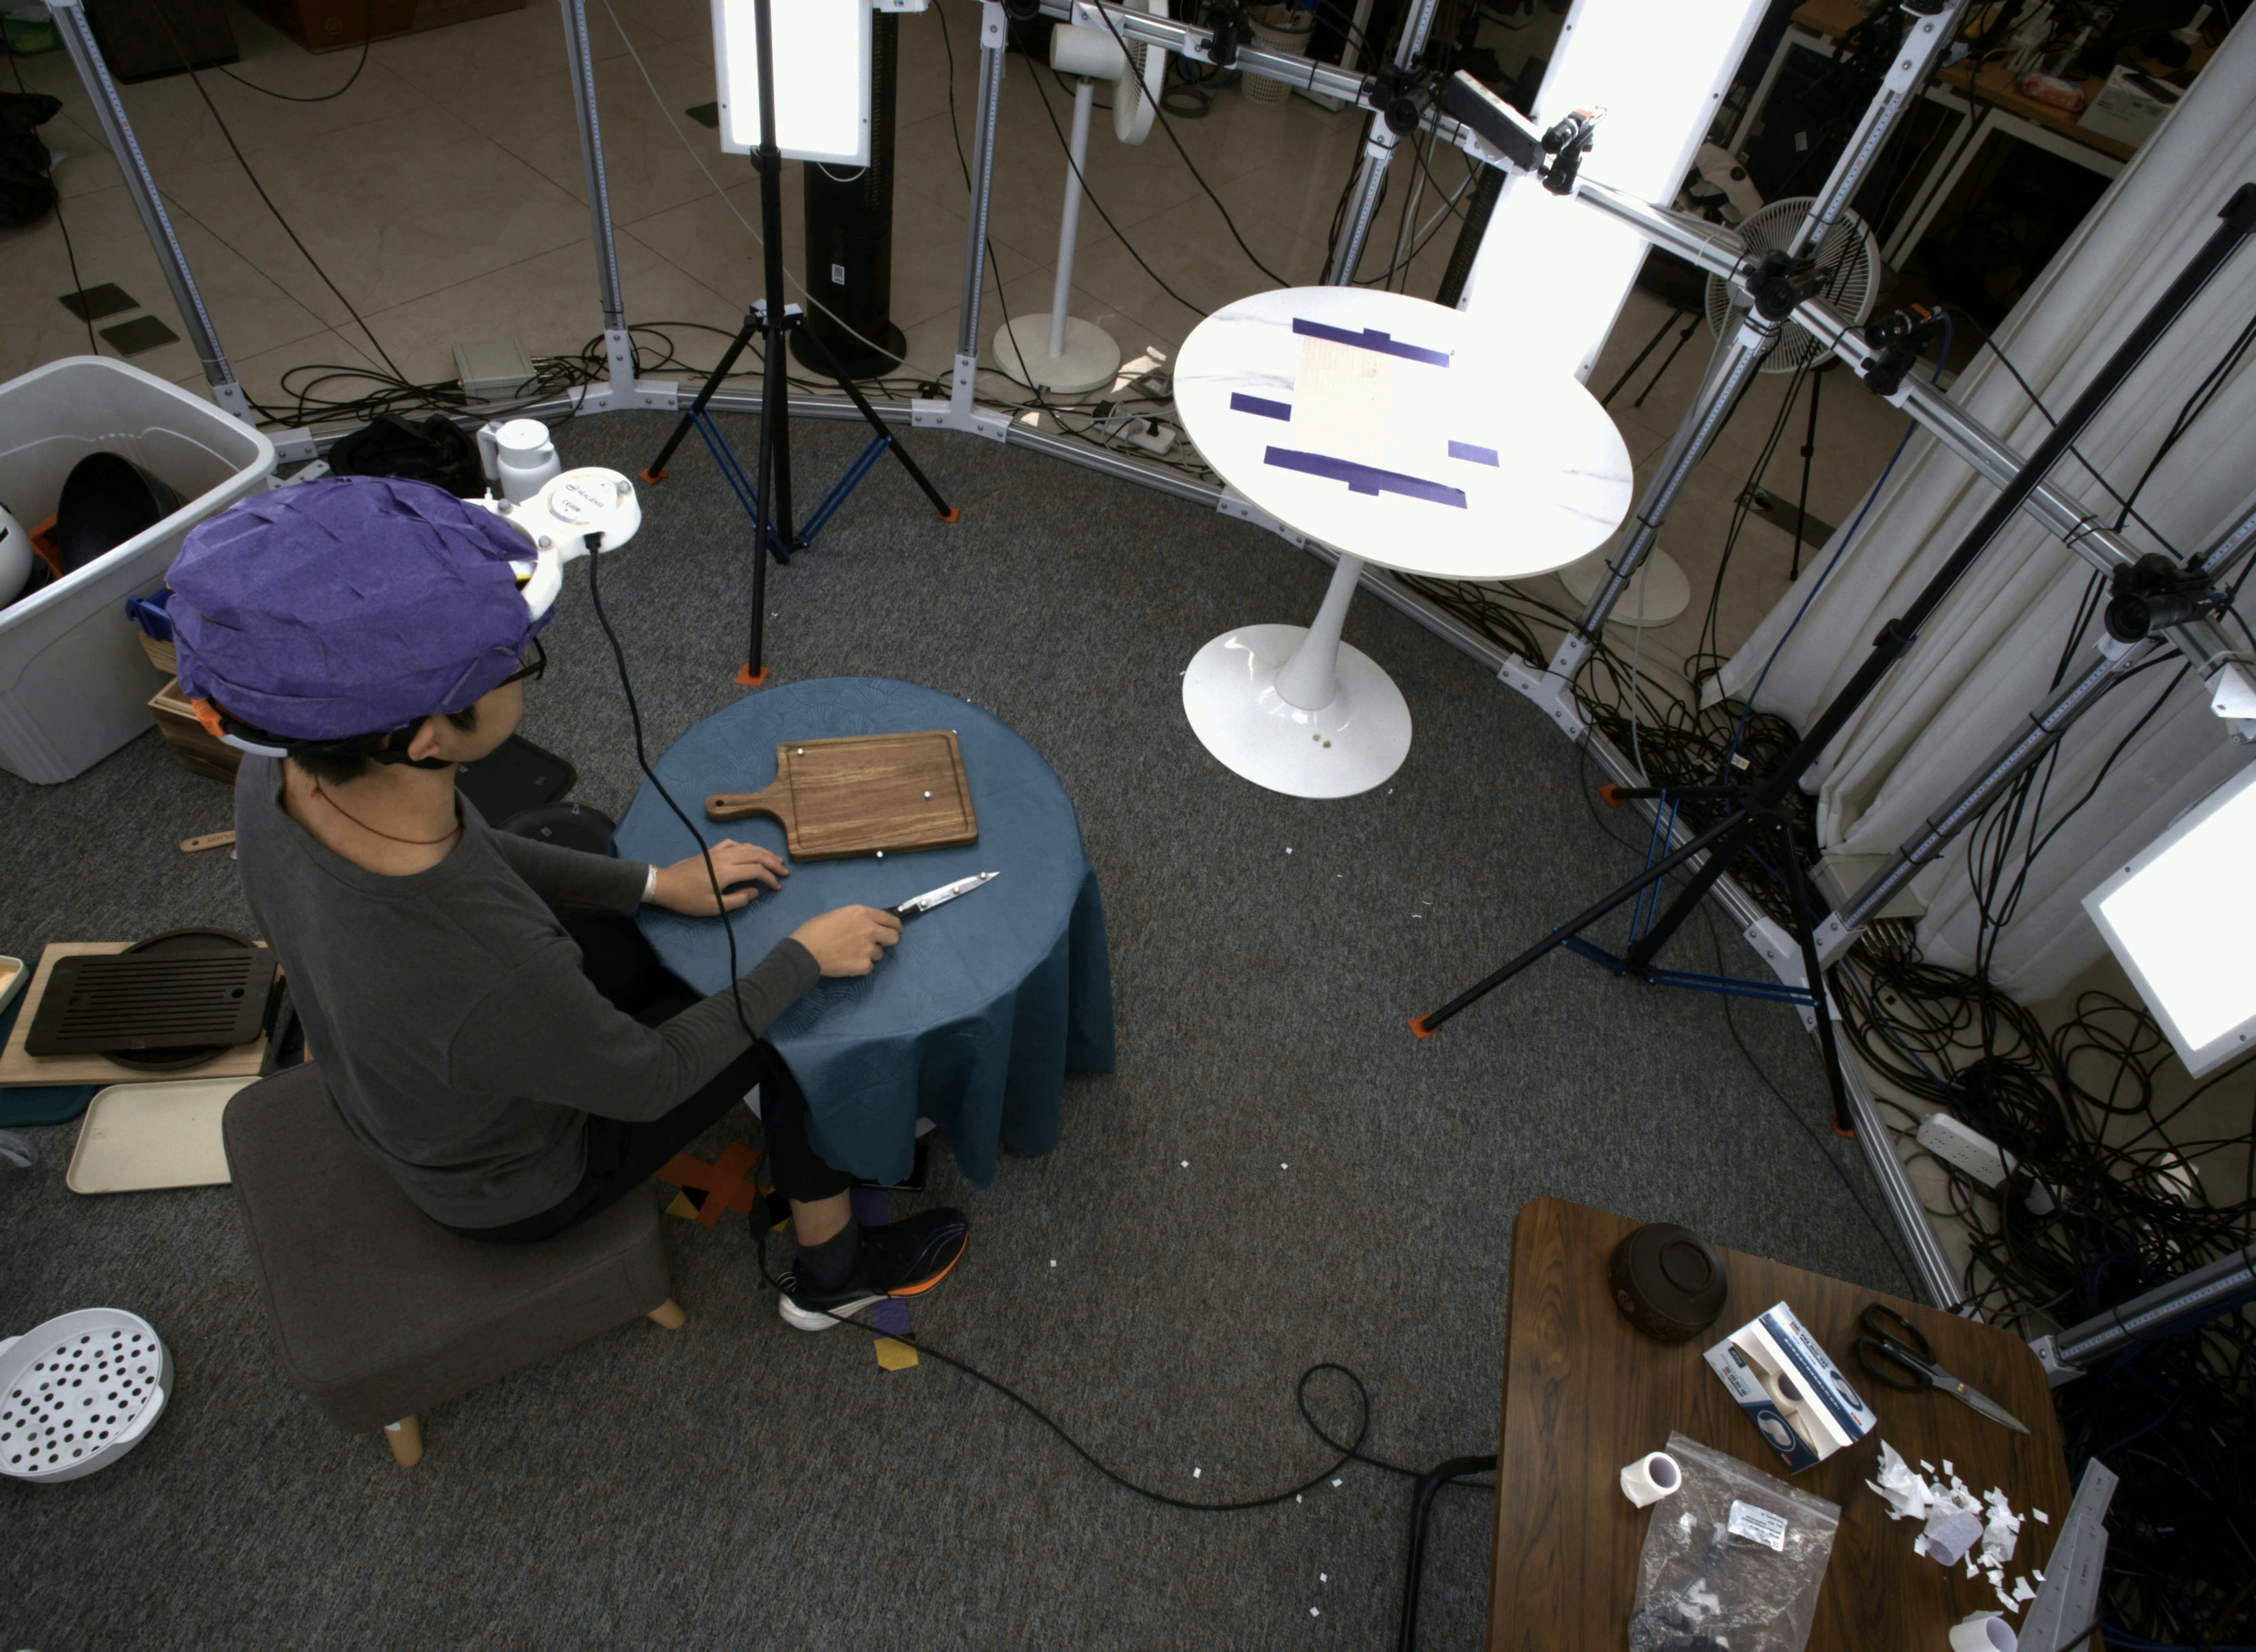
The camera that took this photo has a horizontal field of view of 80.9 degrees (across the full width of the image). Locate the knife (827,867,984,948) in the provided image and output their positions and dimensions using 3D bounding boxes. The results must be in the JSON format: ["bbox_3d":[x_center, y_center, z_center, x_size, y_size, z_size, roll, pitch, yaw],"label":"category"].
[{"bbox_3d":[-0.283,0.101,1.689,0.239,0.016,0.024,-26,64,-32],"label":"knife"}]

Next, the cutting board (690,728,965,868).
[{"bbox_3d":[-0.411,-0.038,1.754,0.353,0.023,0.196,-7,56,-19],"label":"cutting board"}]
